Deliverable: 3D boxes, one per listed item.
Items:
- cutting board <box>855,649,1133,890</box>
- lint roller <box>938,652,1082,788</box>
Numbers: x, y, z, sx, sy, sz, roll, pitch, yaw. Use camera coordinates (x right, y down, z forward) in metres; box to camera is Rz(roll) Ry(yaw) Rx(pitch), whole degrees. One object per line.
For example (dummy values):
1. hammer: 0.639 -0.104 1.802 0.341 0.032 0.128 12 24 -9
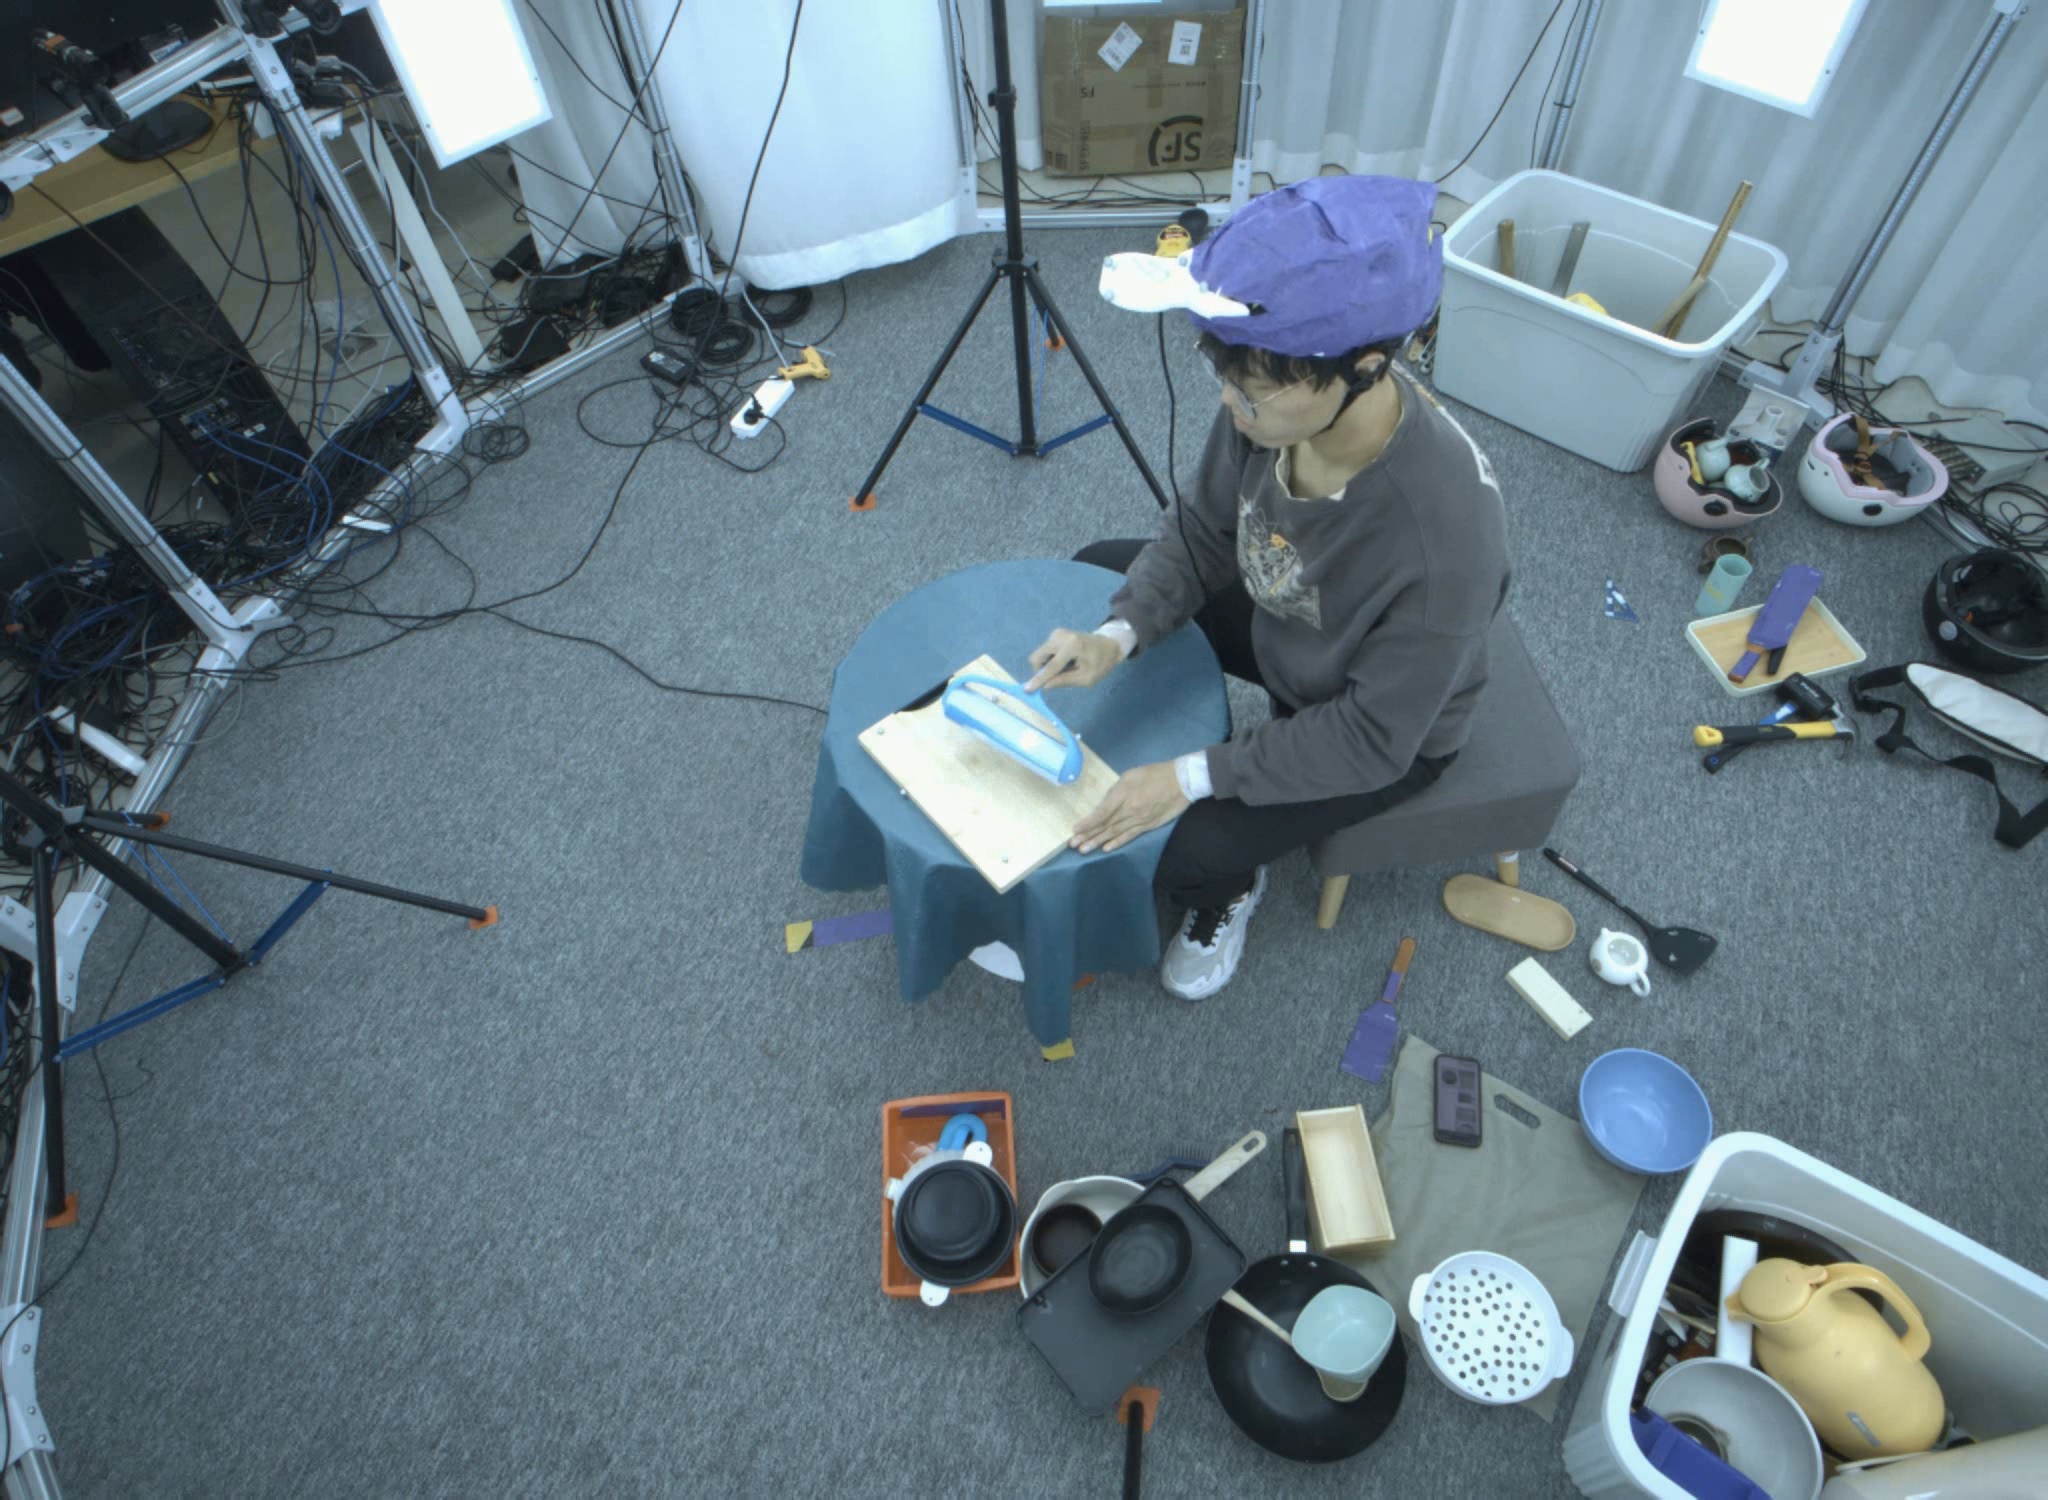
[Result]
1. cutting board: -0.048 0.019 1.763 0.253 0.024 0.342 -35 61 -22
2. lint roller: 0.007 -0.068 1.698 0.226 0.069 0.180 27 83 17
